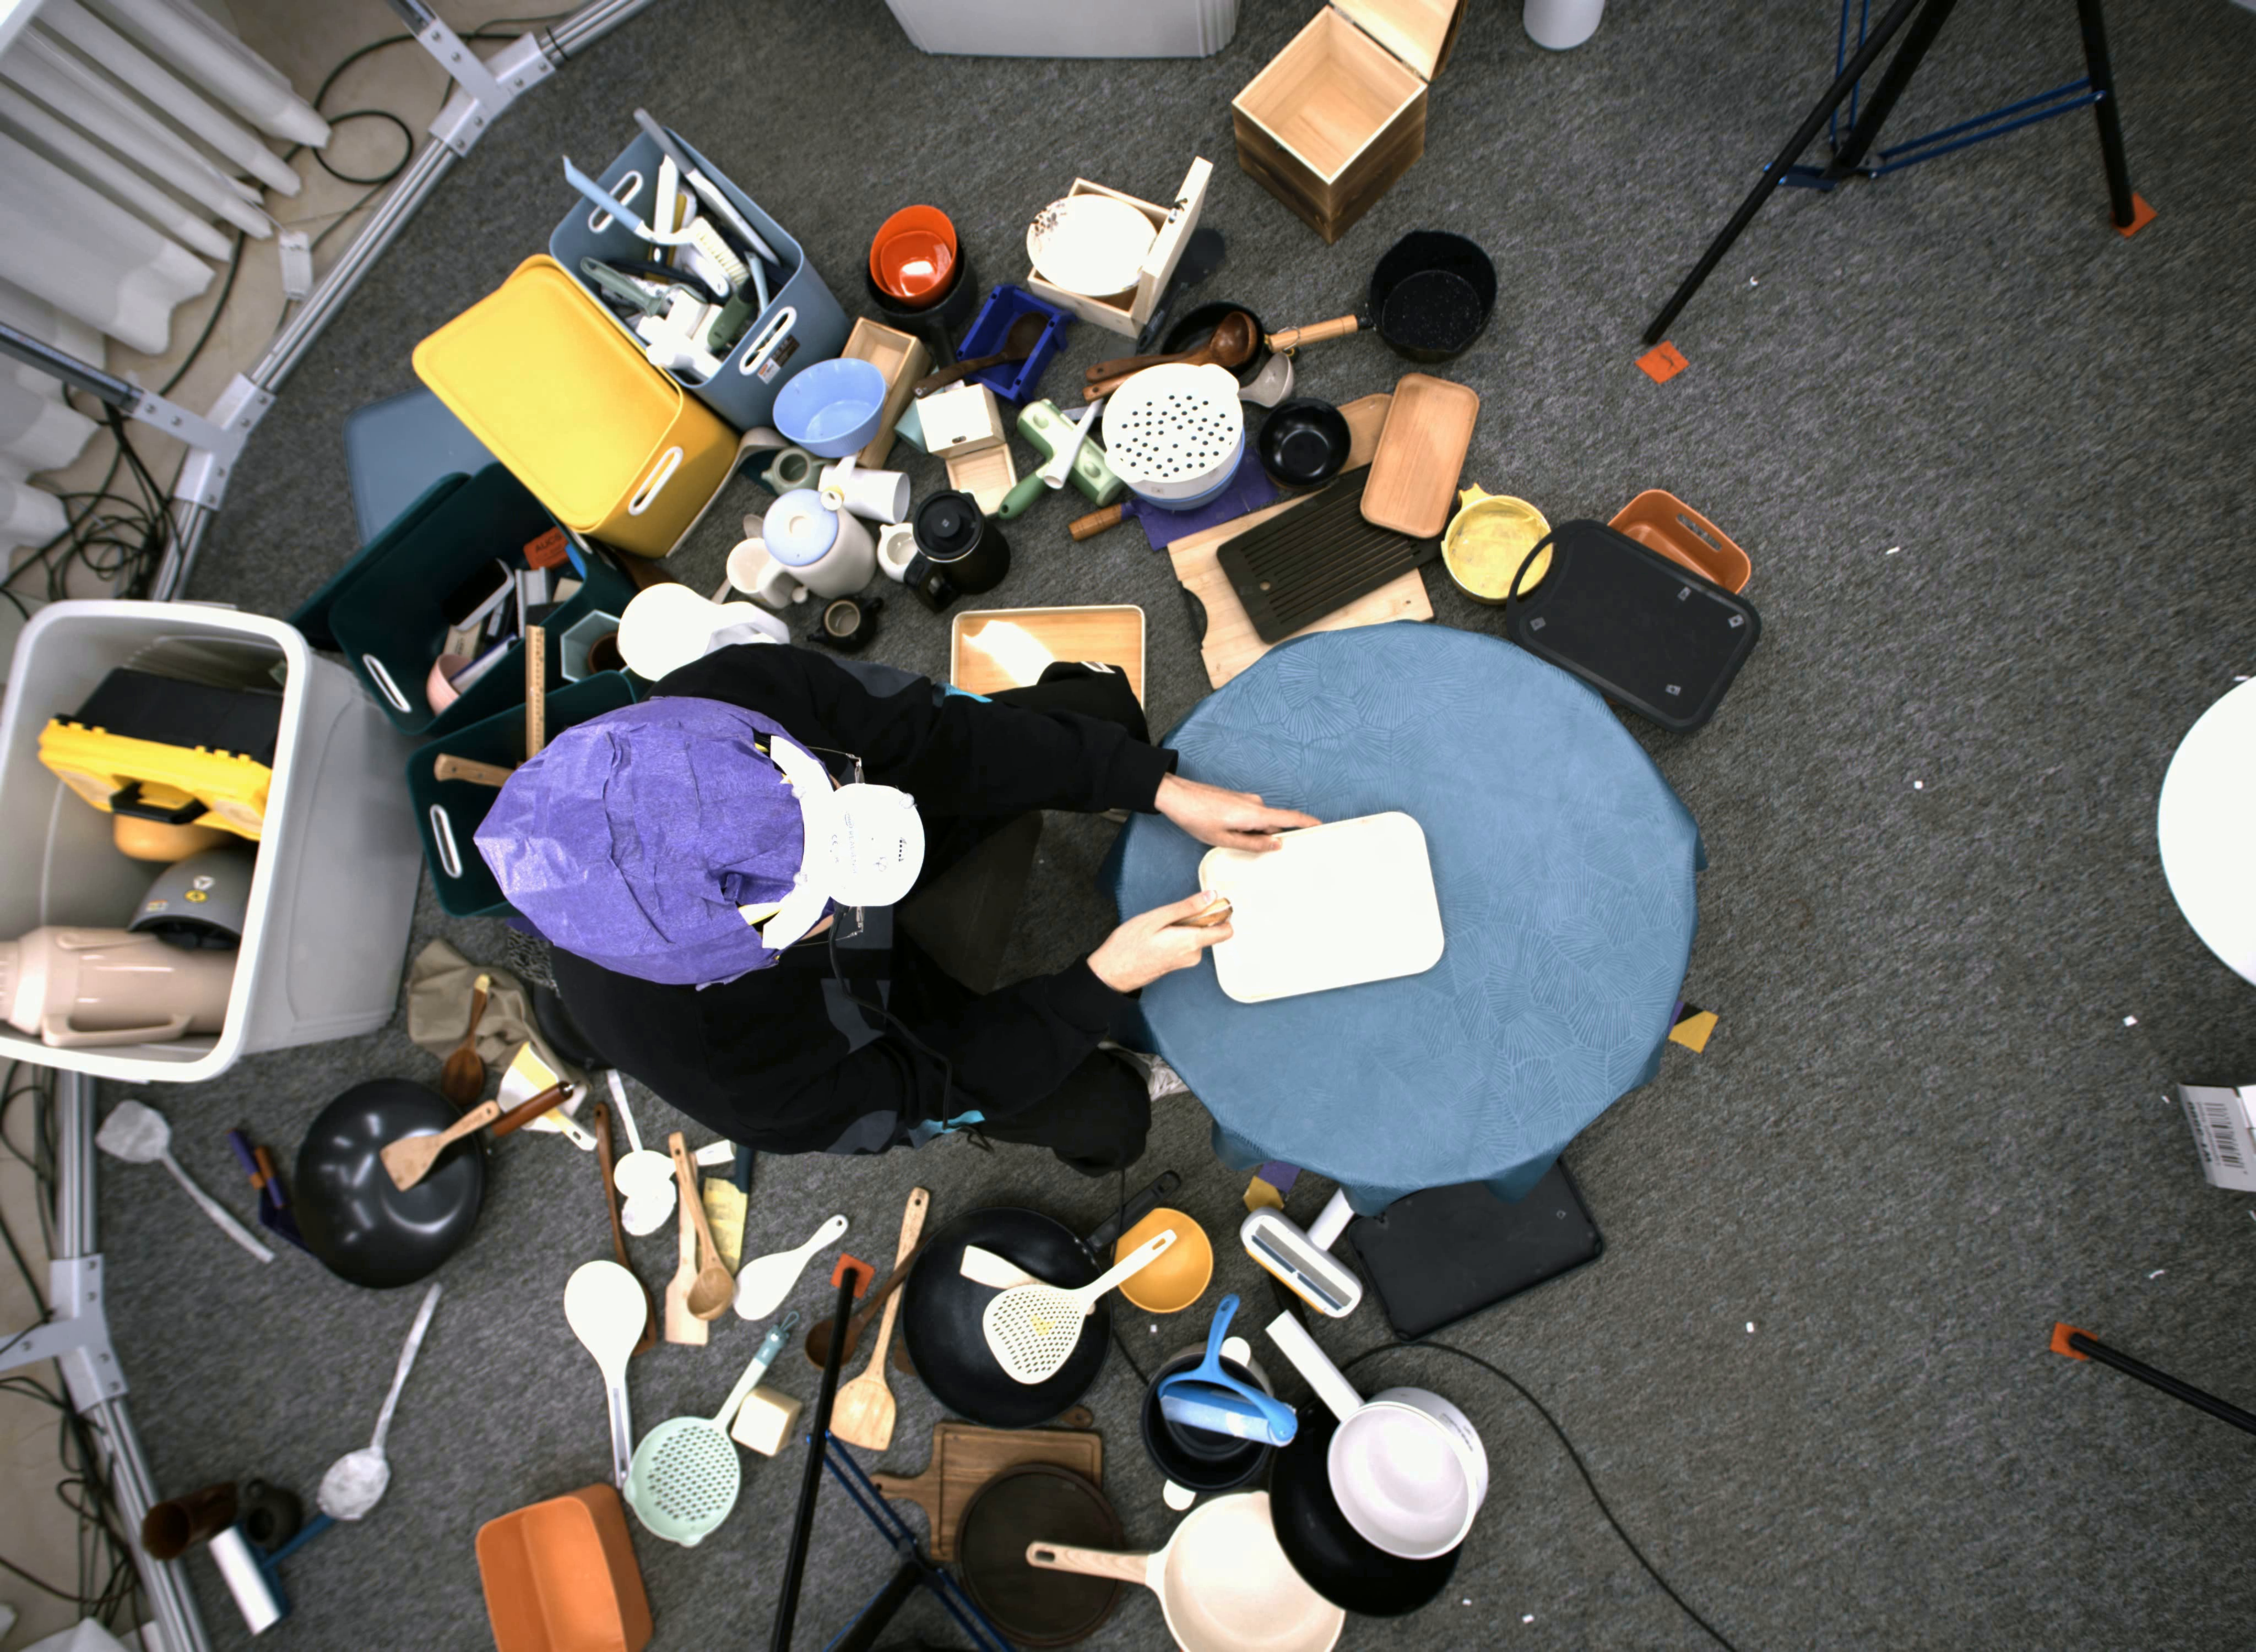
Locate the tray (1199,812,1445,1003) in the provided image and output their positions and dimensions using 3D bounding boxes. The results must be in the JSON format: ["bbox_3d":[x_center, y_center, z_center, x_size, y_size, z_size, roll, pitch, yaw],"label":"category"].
[{"bbox_3d":[0.203,0.085,1.452,0.241,0.017,0.171,-11,92,8],"label":"tray"}]

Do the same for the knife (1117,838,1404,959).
[{"bbox_3d":[0.136,0.070,1.405,0.308,0.092,0.021,-22,85,12],"label":"knife"}]
